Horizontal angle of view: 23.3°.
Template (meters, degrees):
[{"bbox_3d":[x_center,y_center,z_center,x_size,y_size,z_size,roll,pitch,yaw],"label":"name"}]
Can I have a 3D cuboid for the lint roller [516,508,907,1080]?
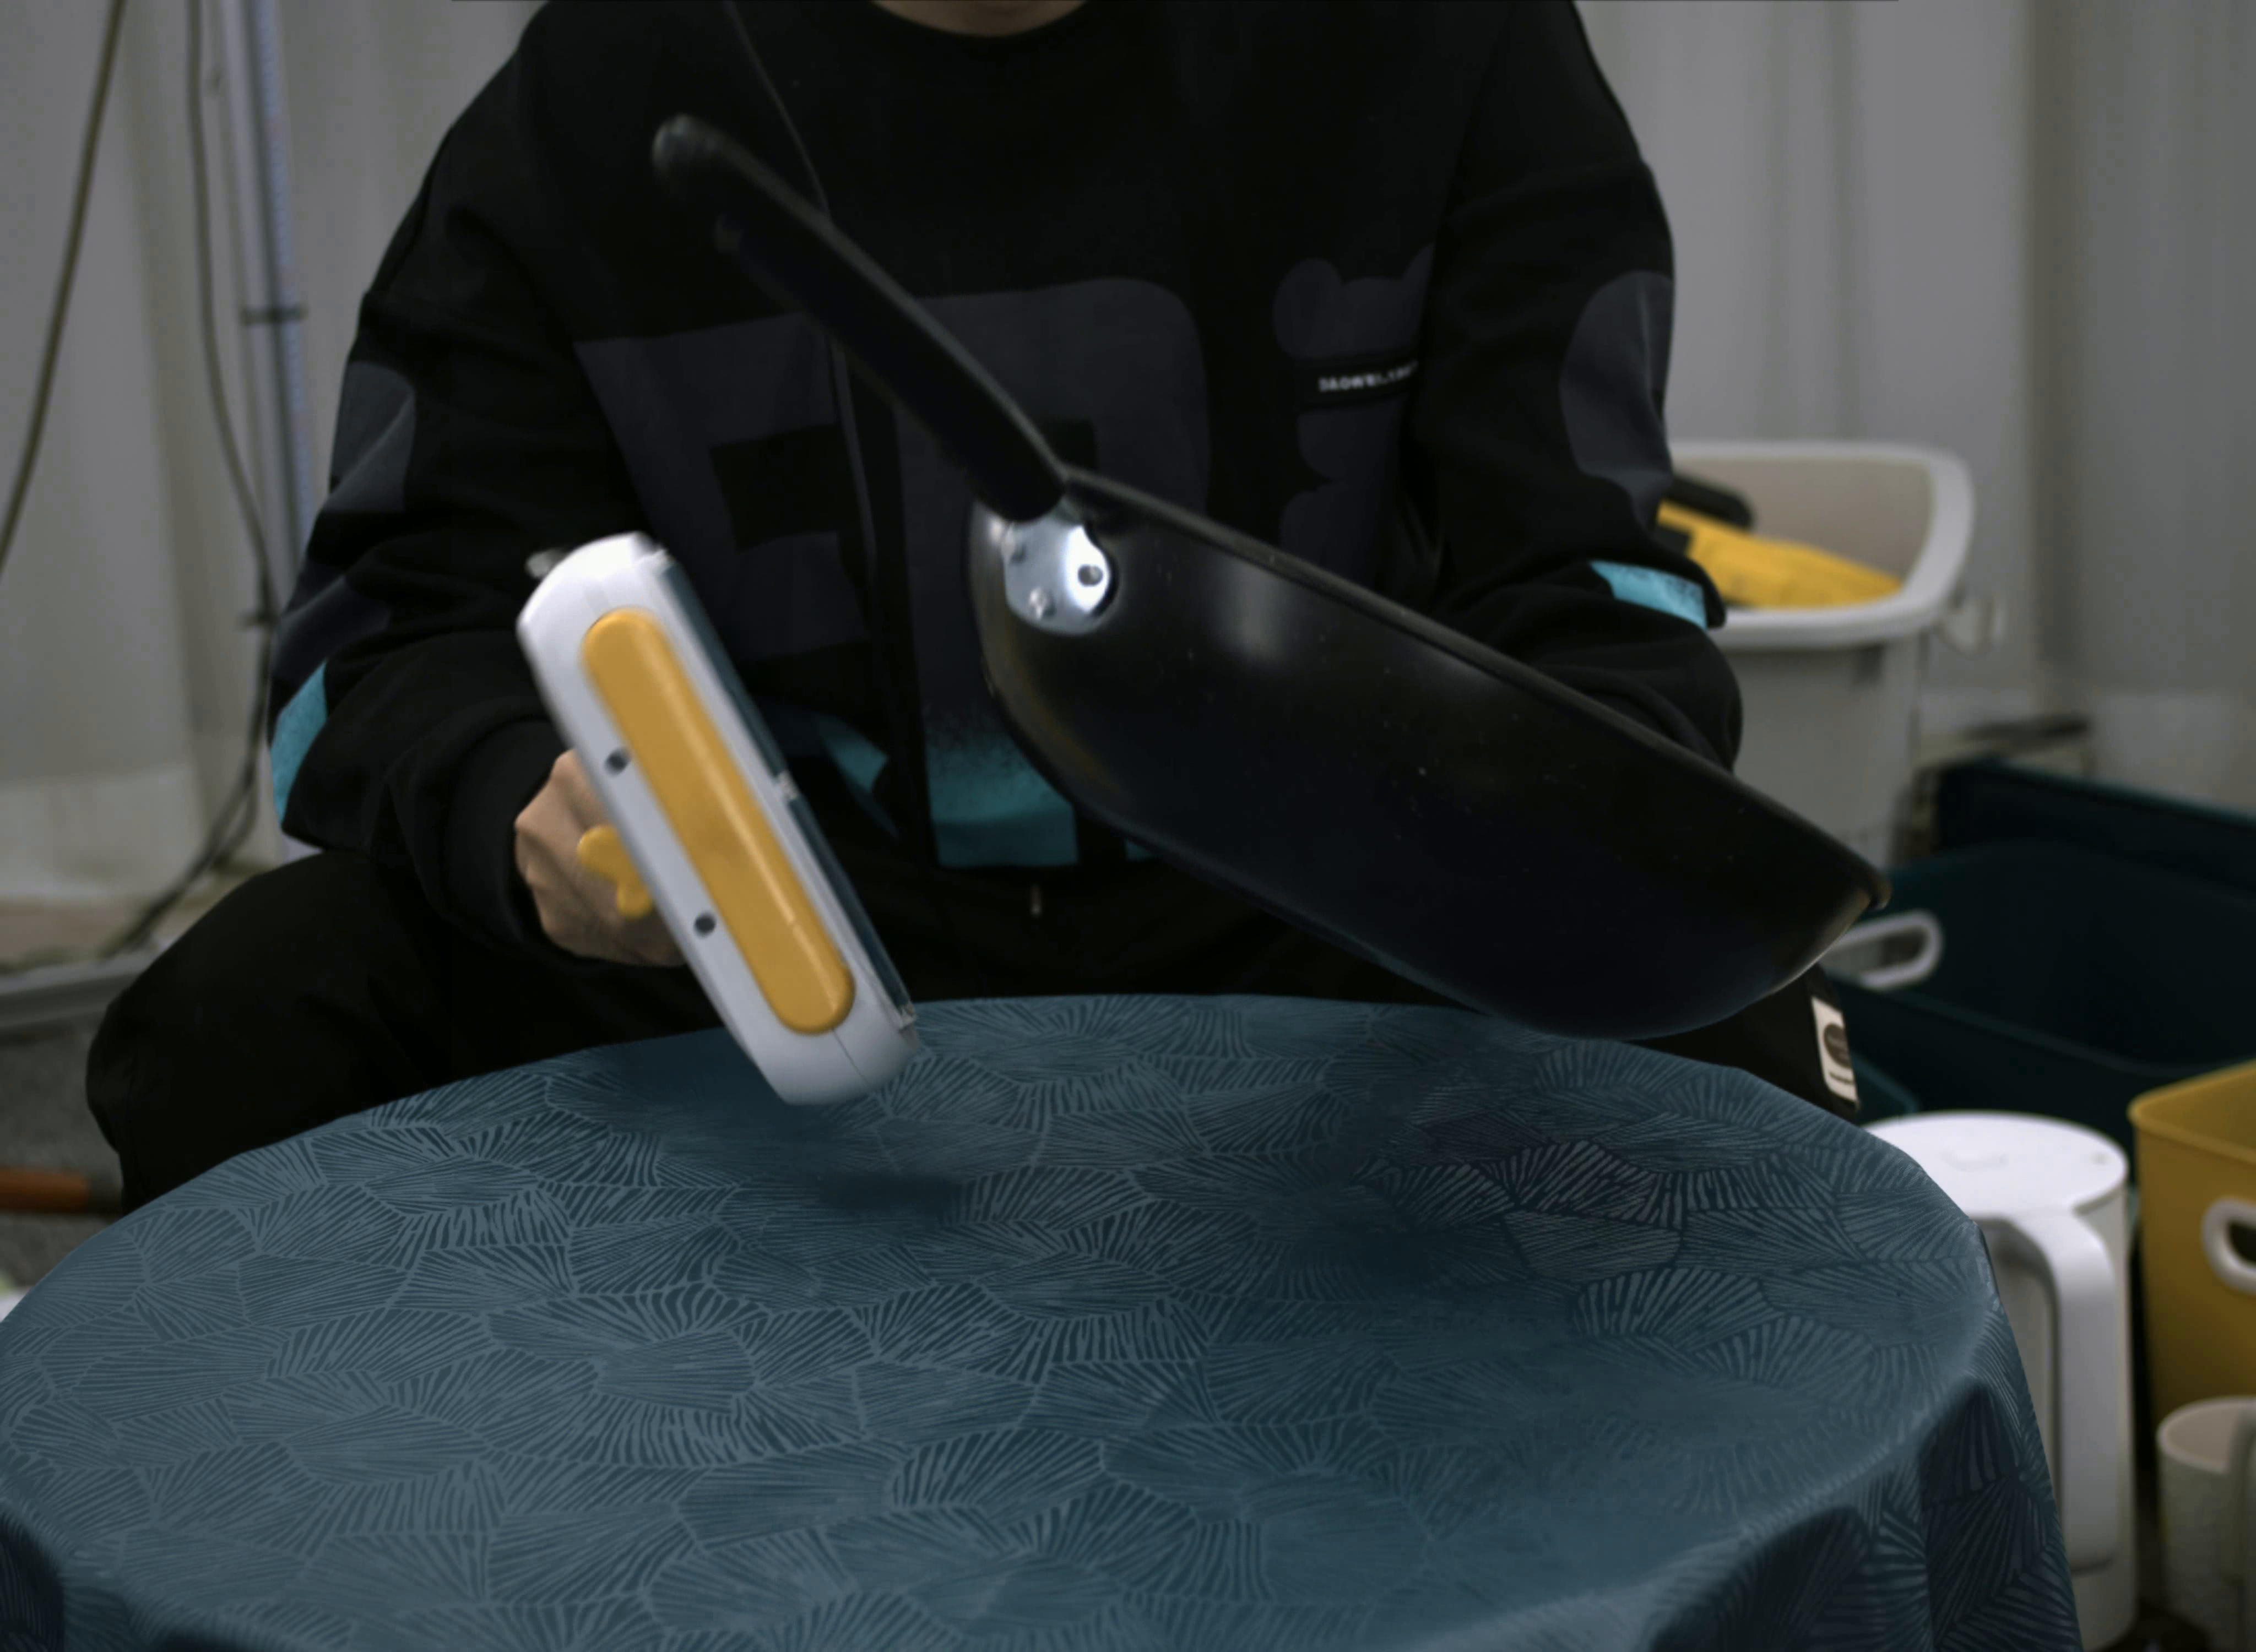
[{"bbox_3d":[-0.139,0.001,1.778,0.074,0.193,0.192,-31,-5,-6],"label":"lint roller"}]

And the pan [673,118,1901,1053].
[{"bbox_3d":[0.023,-0.049,1.599,0.471,0.112,0.312,30,-5,-38],"label":"pan"}]
